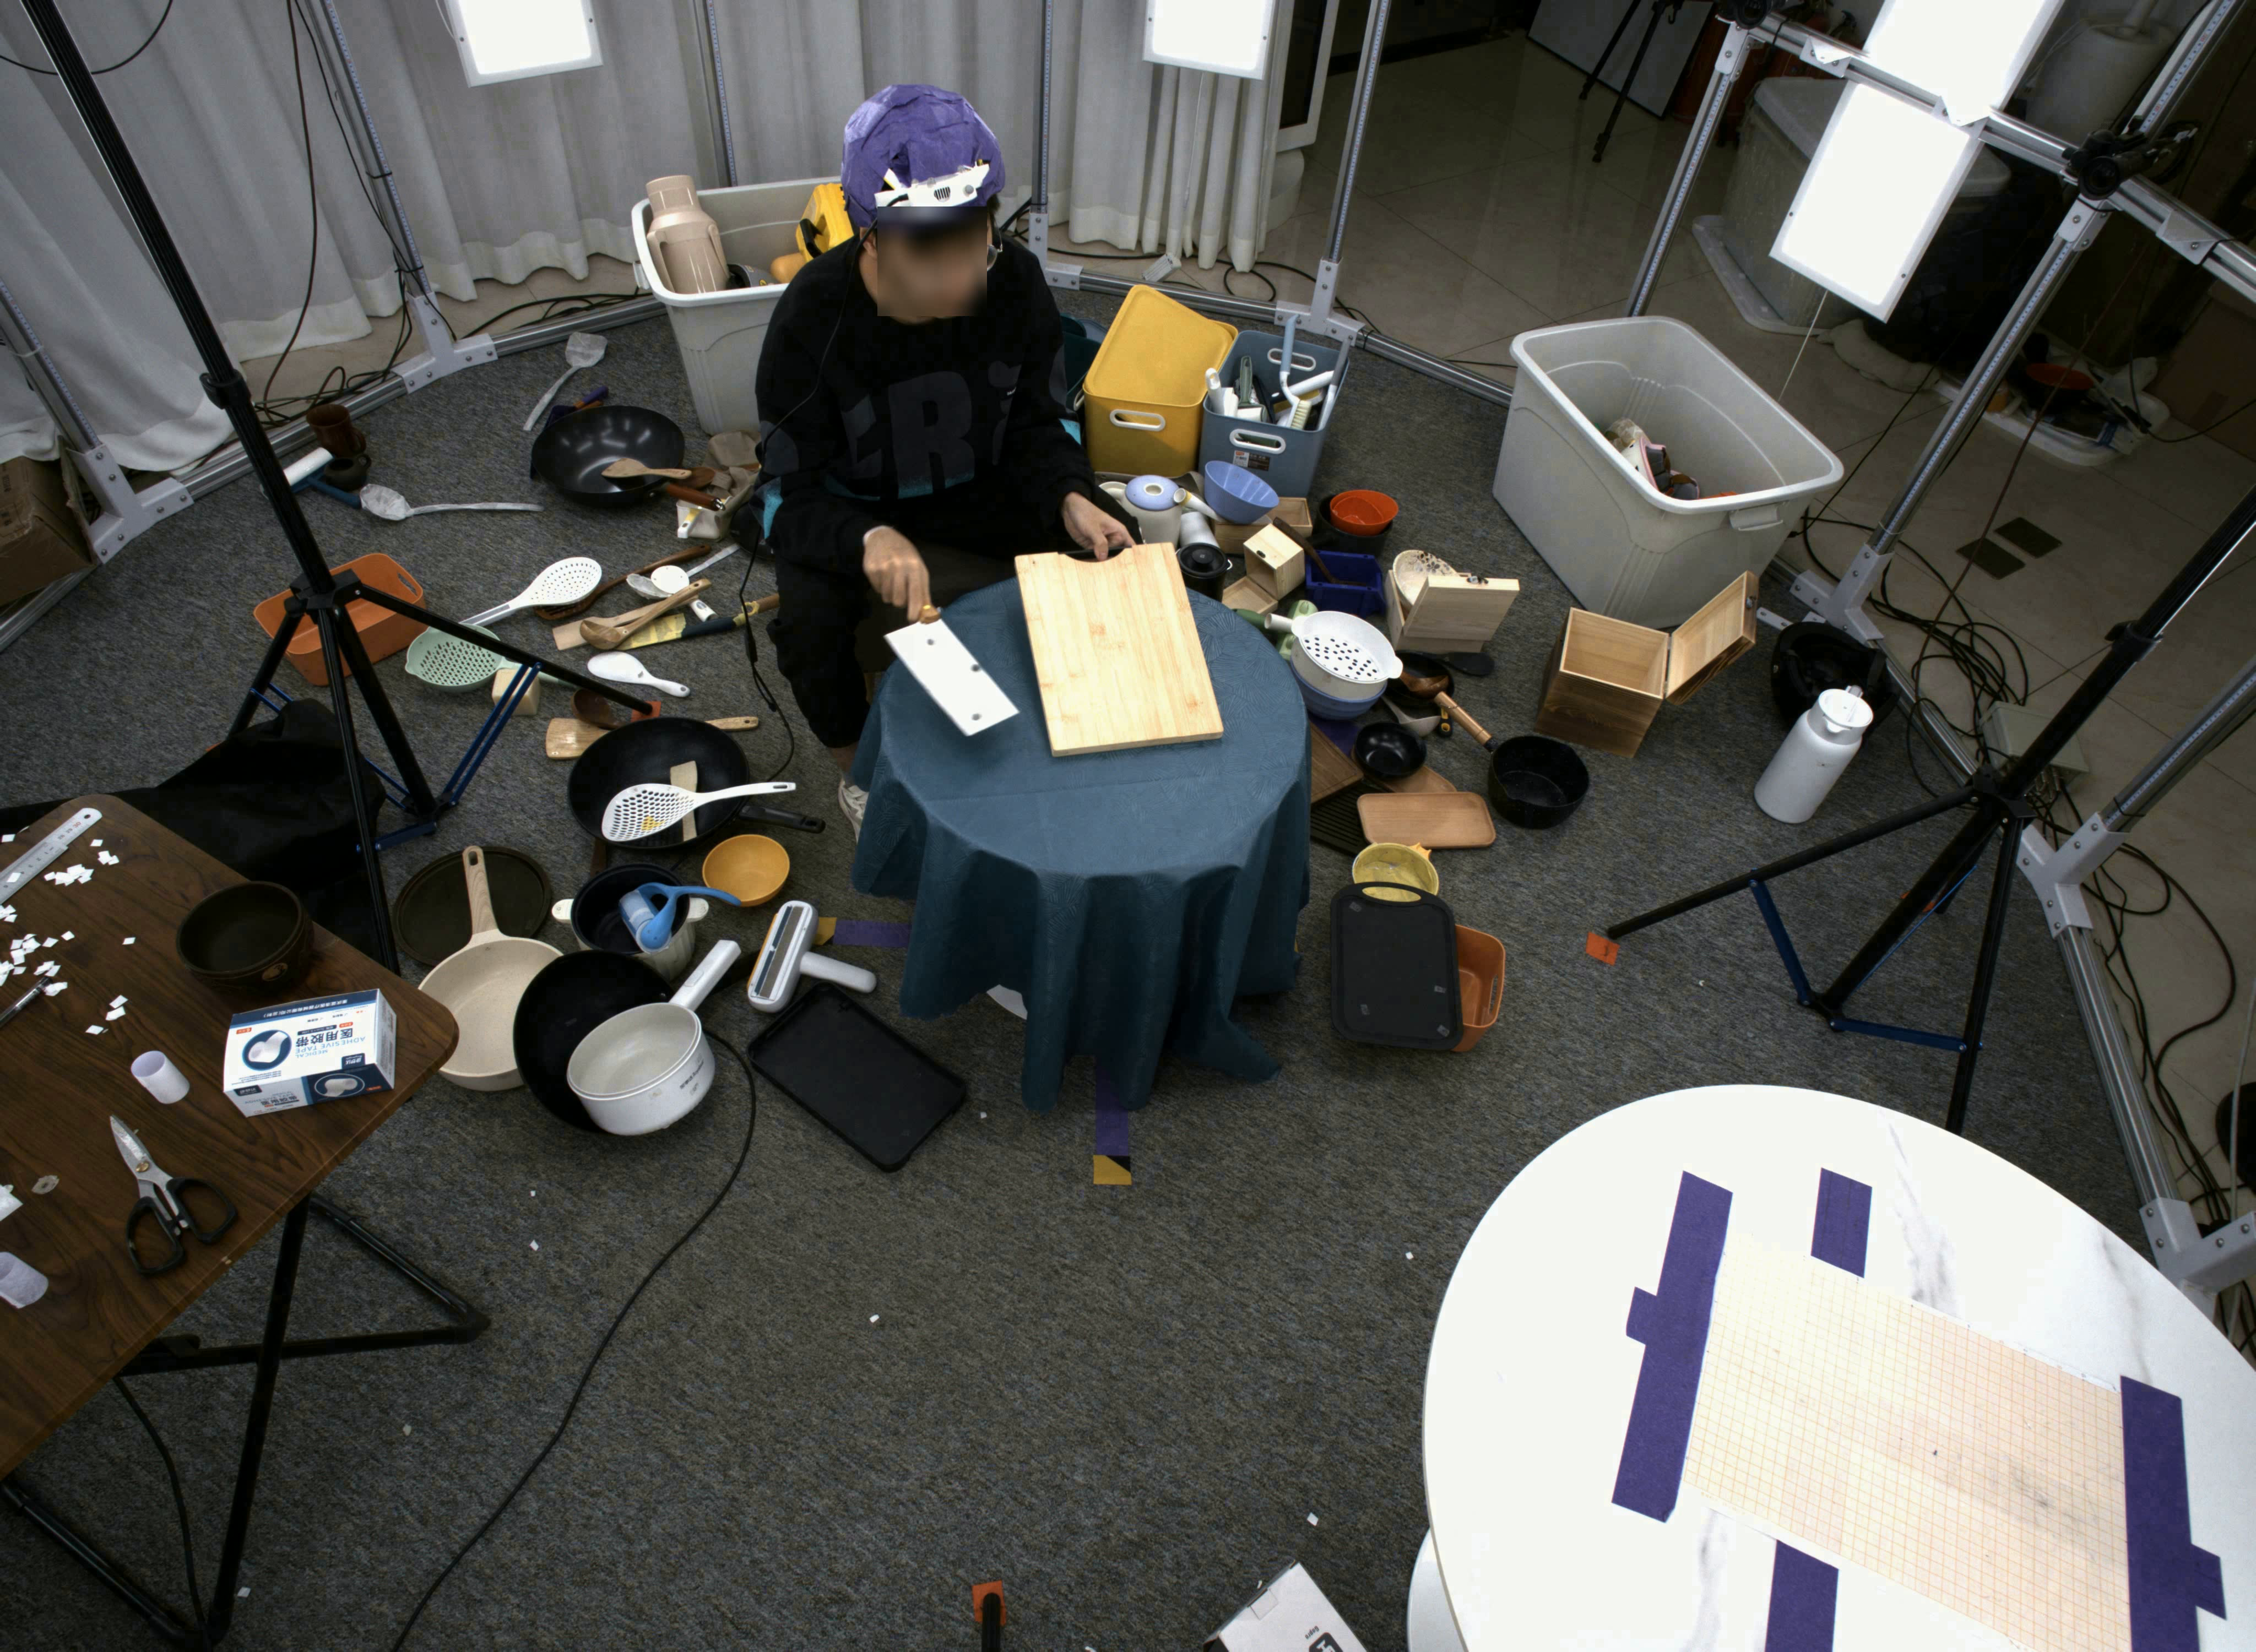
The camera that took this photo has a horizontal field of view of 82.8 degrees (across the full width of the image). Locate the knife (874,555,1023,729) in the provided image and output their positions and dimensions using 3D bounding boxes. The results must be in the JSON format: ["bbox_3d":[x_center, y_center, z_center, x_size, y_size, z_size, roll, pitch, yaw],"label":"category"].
[{"bbox_3d":[-0.264,-0.250,1.750,0.093,0.020,0.309,-29,71,-37],"label":"knife"}]

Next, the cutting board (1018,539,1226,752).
[{"bbox_3d":[-0.013,-0.264,1.844,0.250,0.023,0.356,-8,61,-10],"label":"cutting board"}]
